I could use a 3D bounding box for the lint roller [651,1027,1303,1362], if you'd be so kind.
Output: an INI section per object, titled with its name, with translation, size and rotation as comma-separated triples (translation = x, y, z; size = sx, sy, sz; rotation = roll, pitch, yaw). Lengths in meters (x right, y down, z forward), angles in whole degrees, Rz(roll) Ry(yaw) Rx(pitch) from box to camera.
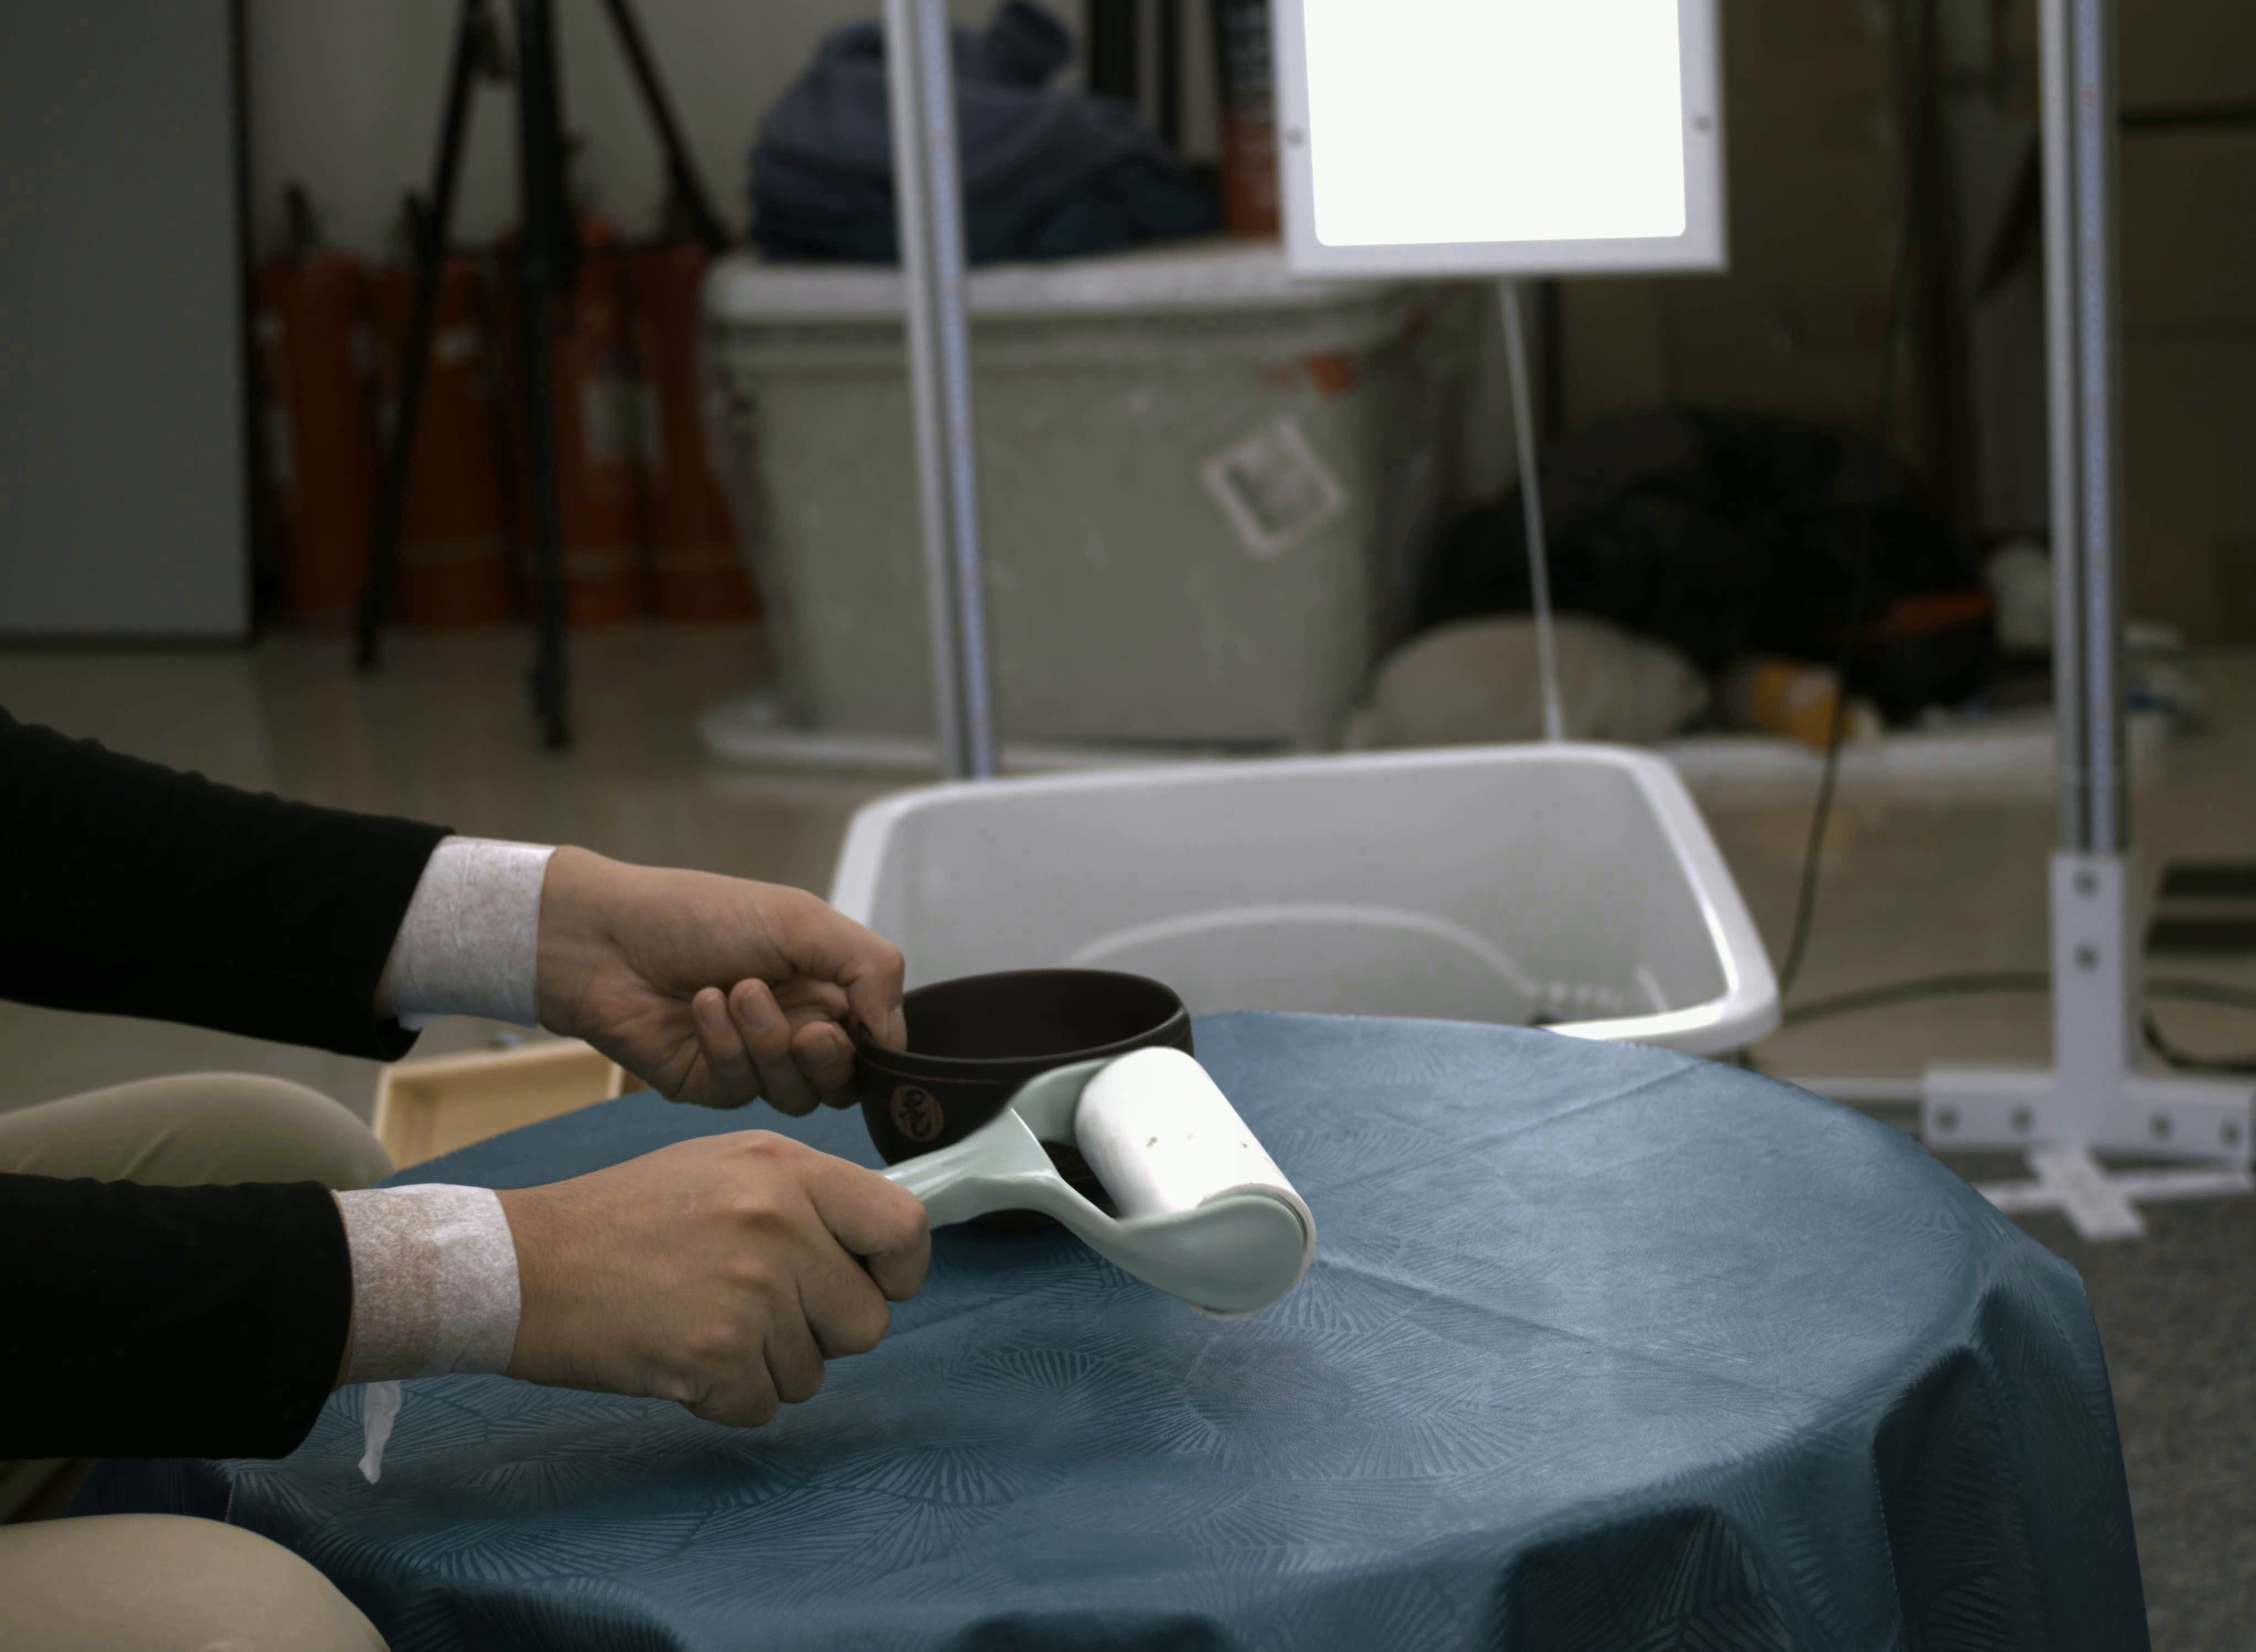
[lint roller]
translation = -0.054, 0.119, 1.701
size = 0.195, 0.049, 0.117
rotation = -12, 26, -12

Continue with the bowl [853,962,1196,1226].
[bowl]
translation = -0.034, 0.095, 1.886
size = 0.118, 0.070, 0.118
rotation = -6, 15, 0
